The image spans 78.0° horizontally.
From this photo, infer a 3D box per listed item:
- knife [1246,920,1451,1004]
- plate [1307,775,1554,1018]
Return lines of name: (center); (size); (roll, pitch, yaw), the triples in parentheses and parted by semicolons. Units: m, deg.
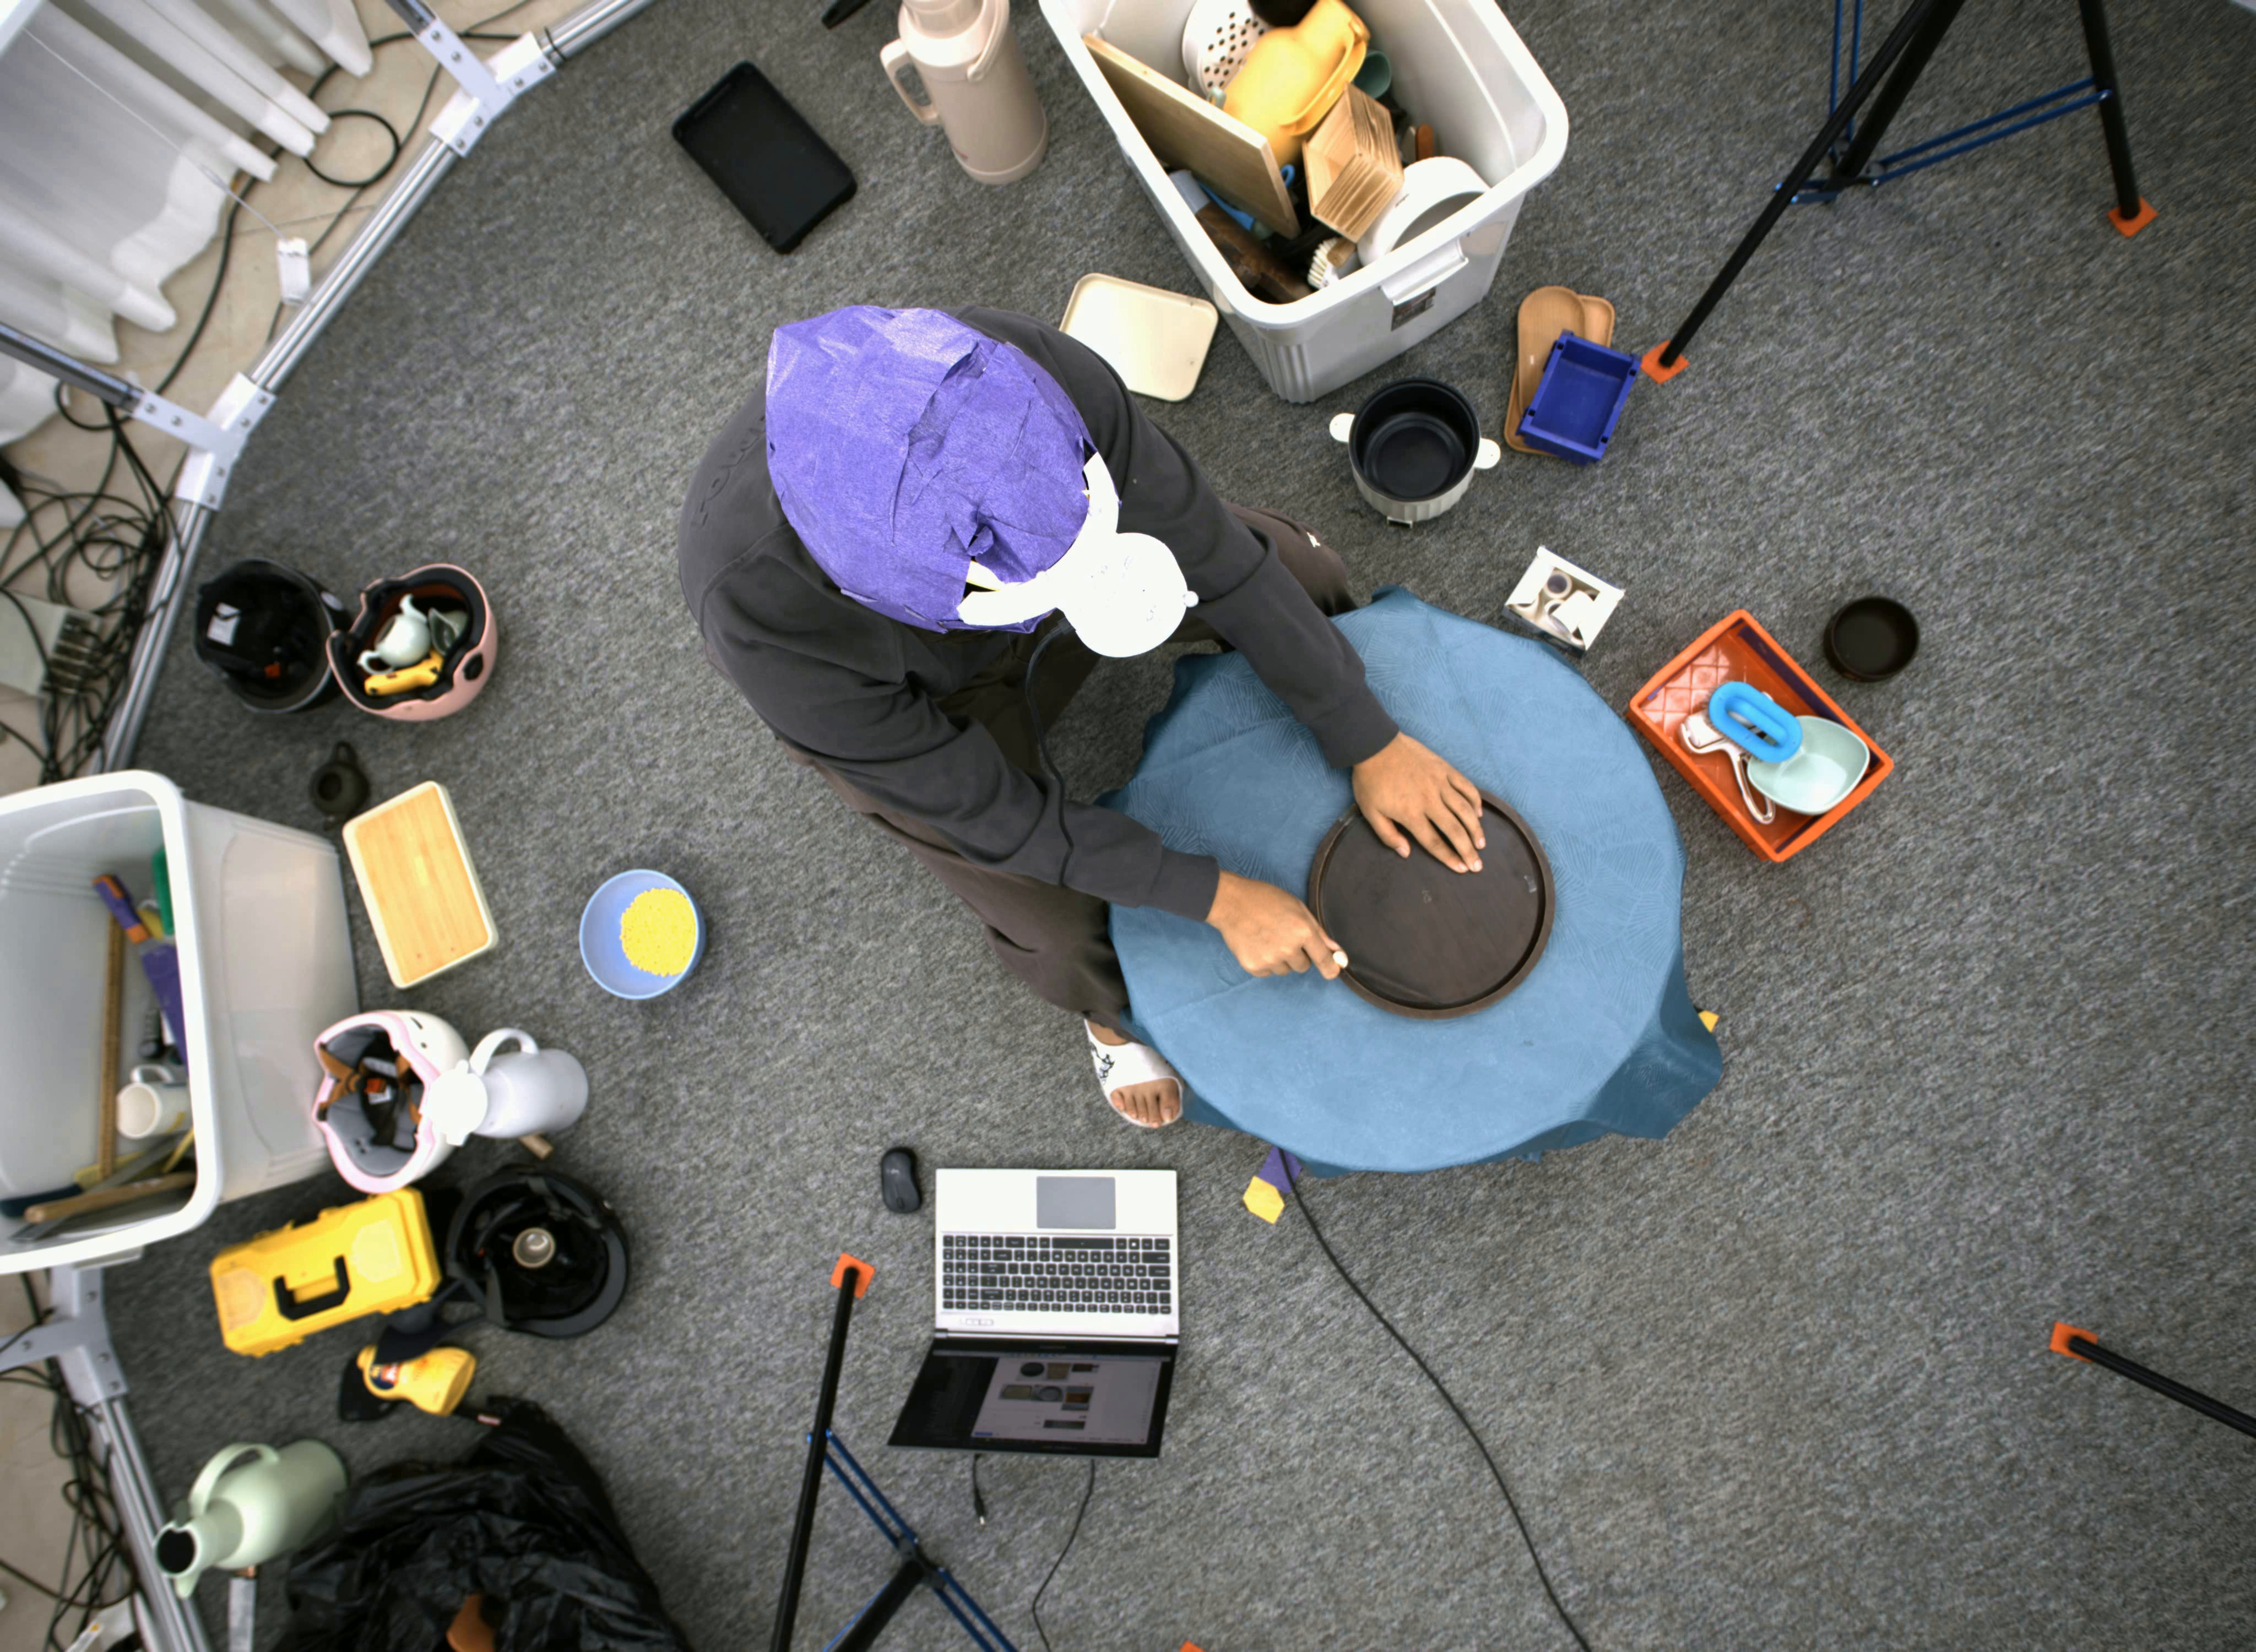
knife: (0.229, 0.142, 1.435); (0.225, 0.026, 0.017); (21, 91, 7)
plate: (0.315, 0.072, 1.441); (0.256, 0.029, 0.253); (-1, 87, 12)
